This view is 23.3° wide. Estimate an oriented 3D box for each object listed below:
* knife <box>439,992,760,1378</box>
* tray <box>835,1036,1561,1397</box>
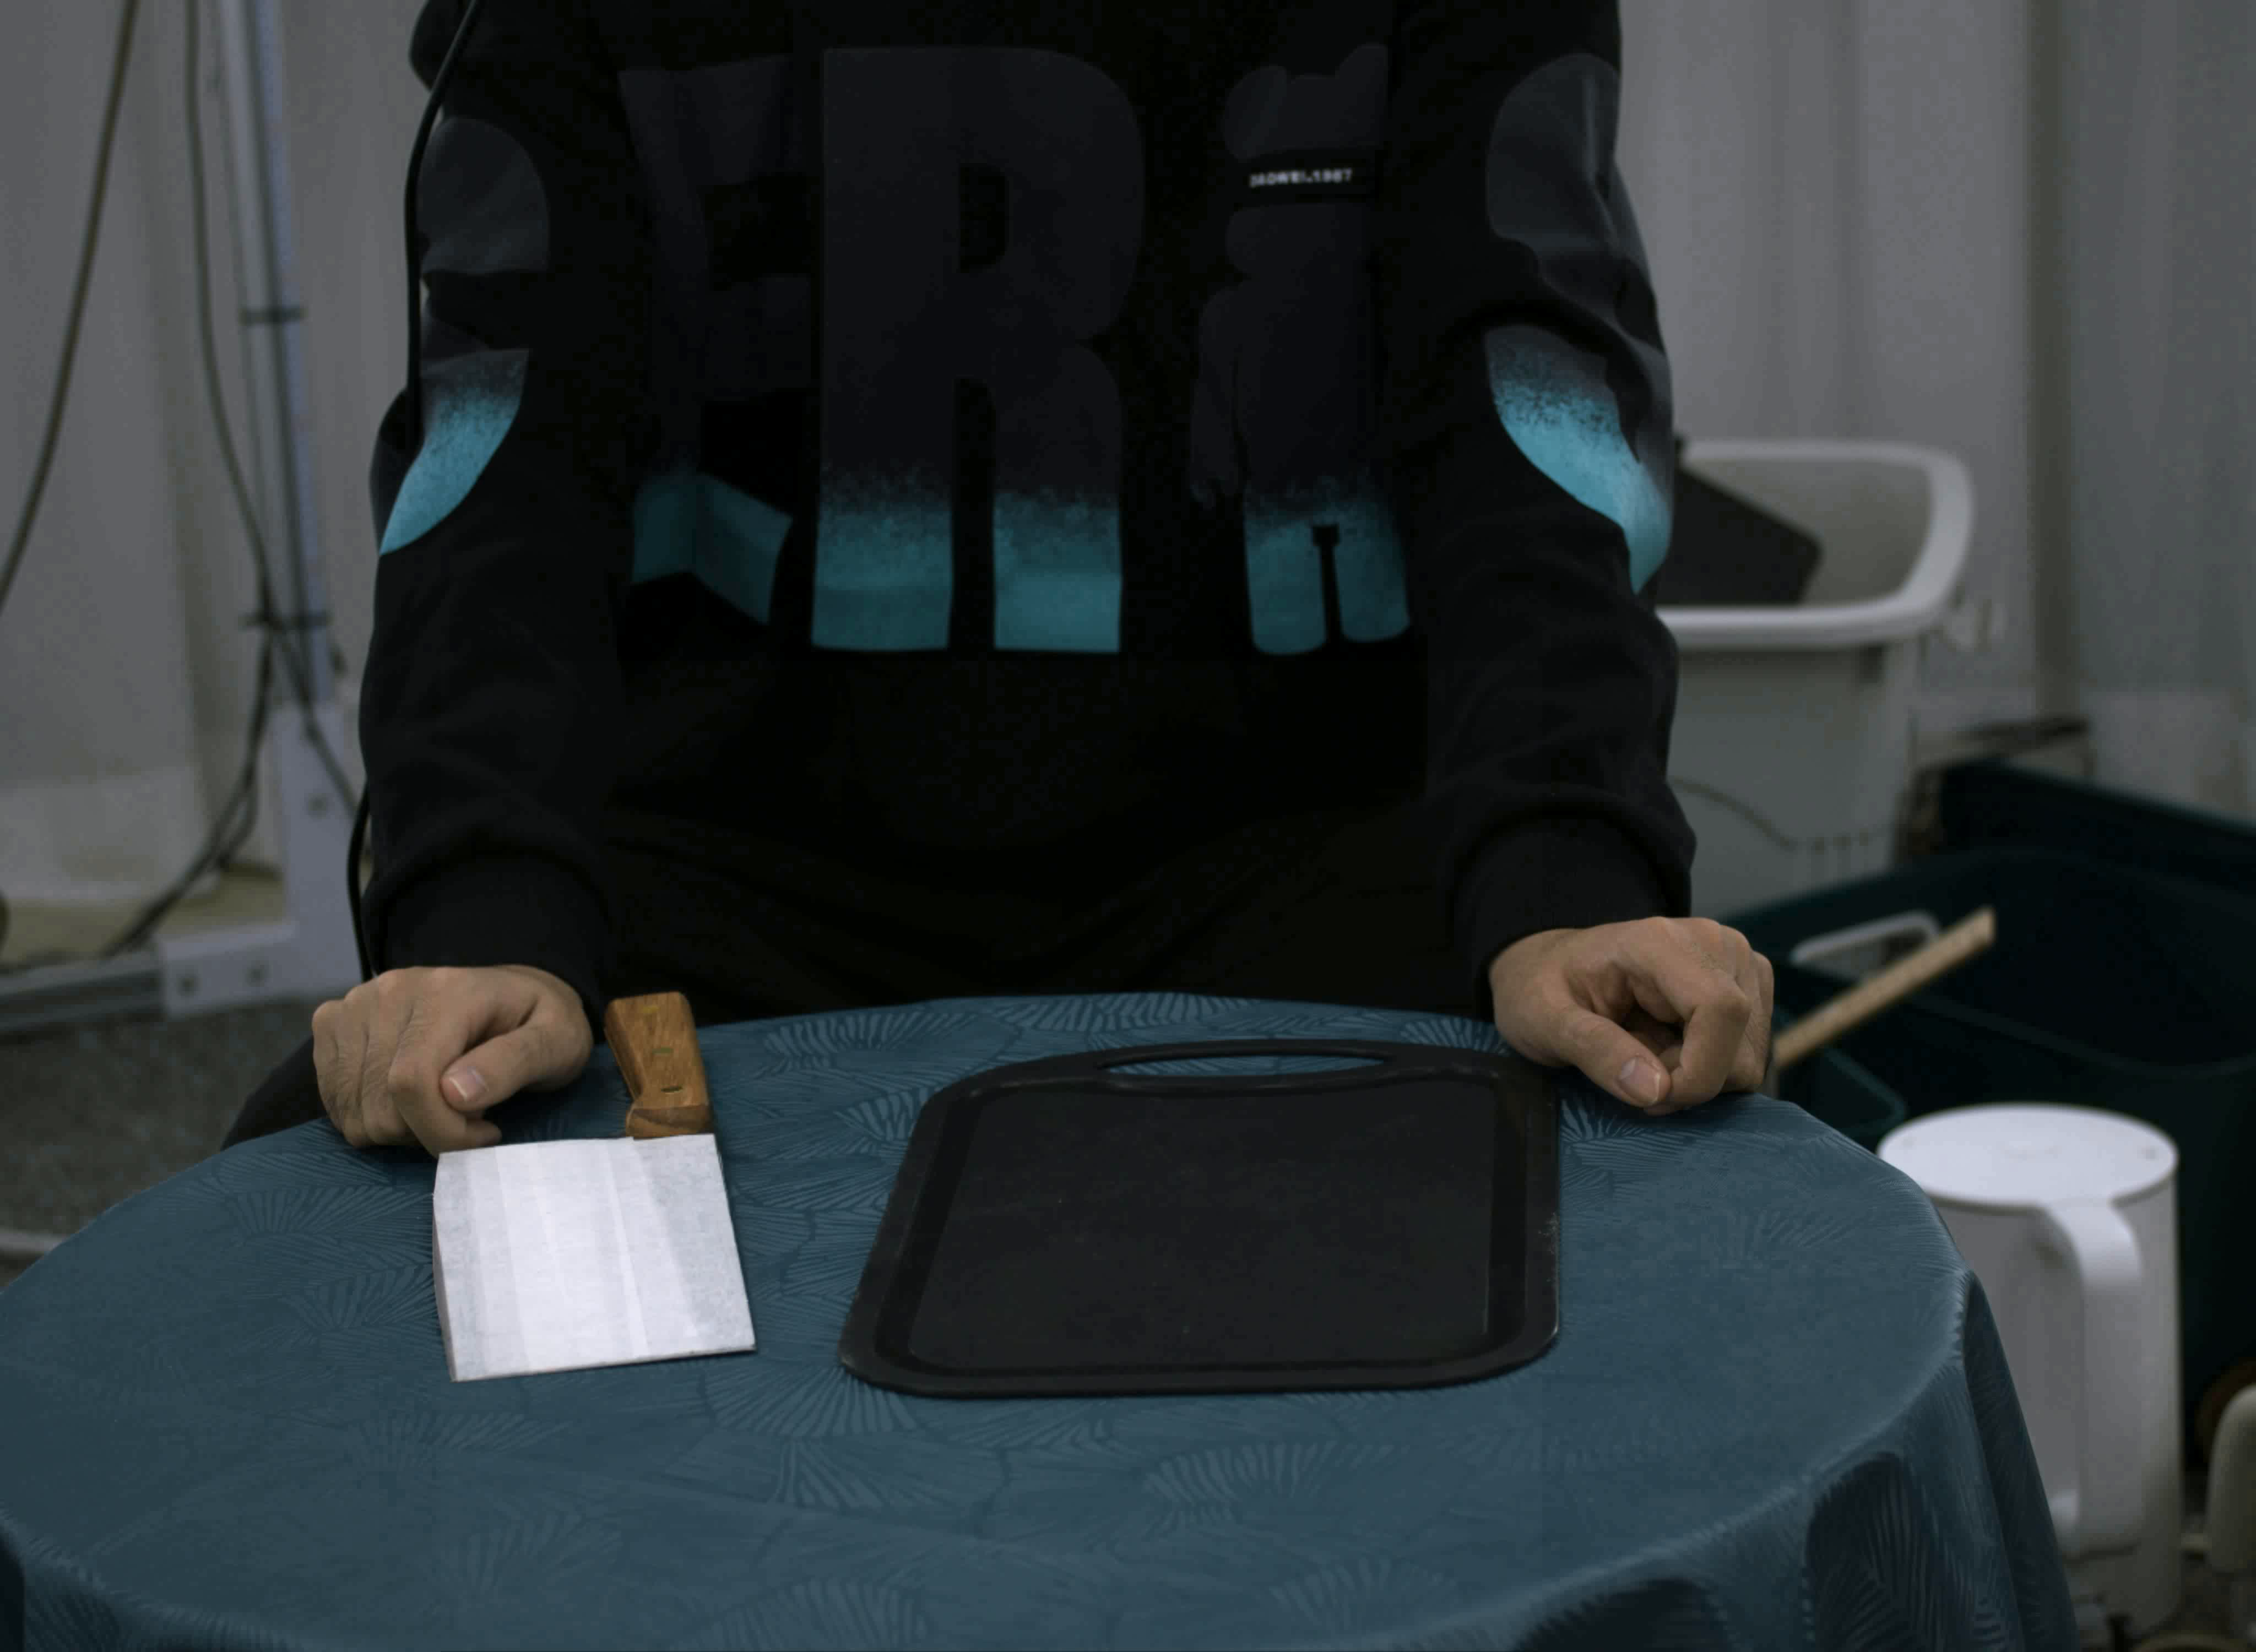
[{"bbox_3d":[-0.171,0.112,1.730,0.092,0.021,0.308,-6,18,-6],"label":"knife"},{"bbox_3d":[0.028,0.115,1.696,0.210,0.010,0.327,-2,15,6],"label":"tray"}]
